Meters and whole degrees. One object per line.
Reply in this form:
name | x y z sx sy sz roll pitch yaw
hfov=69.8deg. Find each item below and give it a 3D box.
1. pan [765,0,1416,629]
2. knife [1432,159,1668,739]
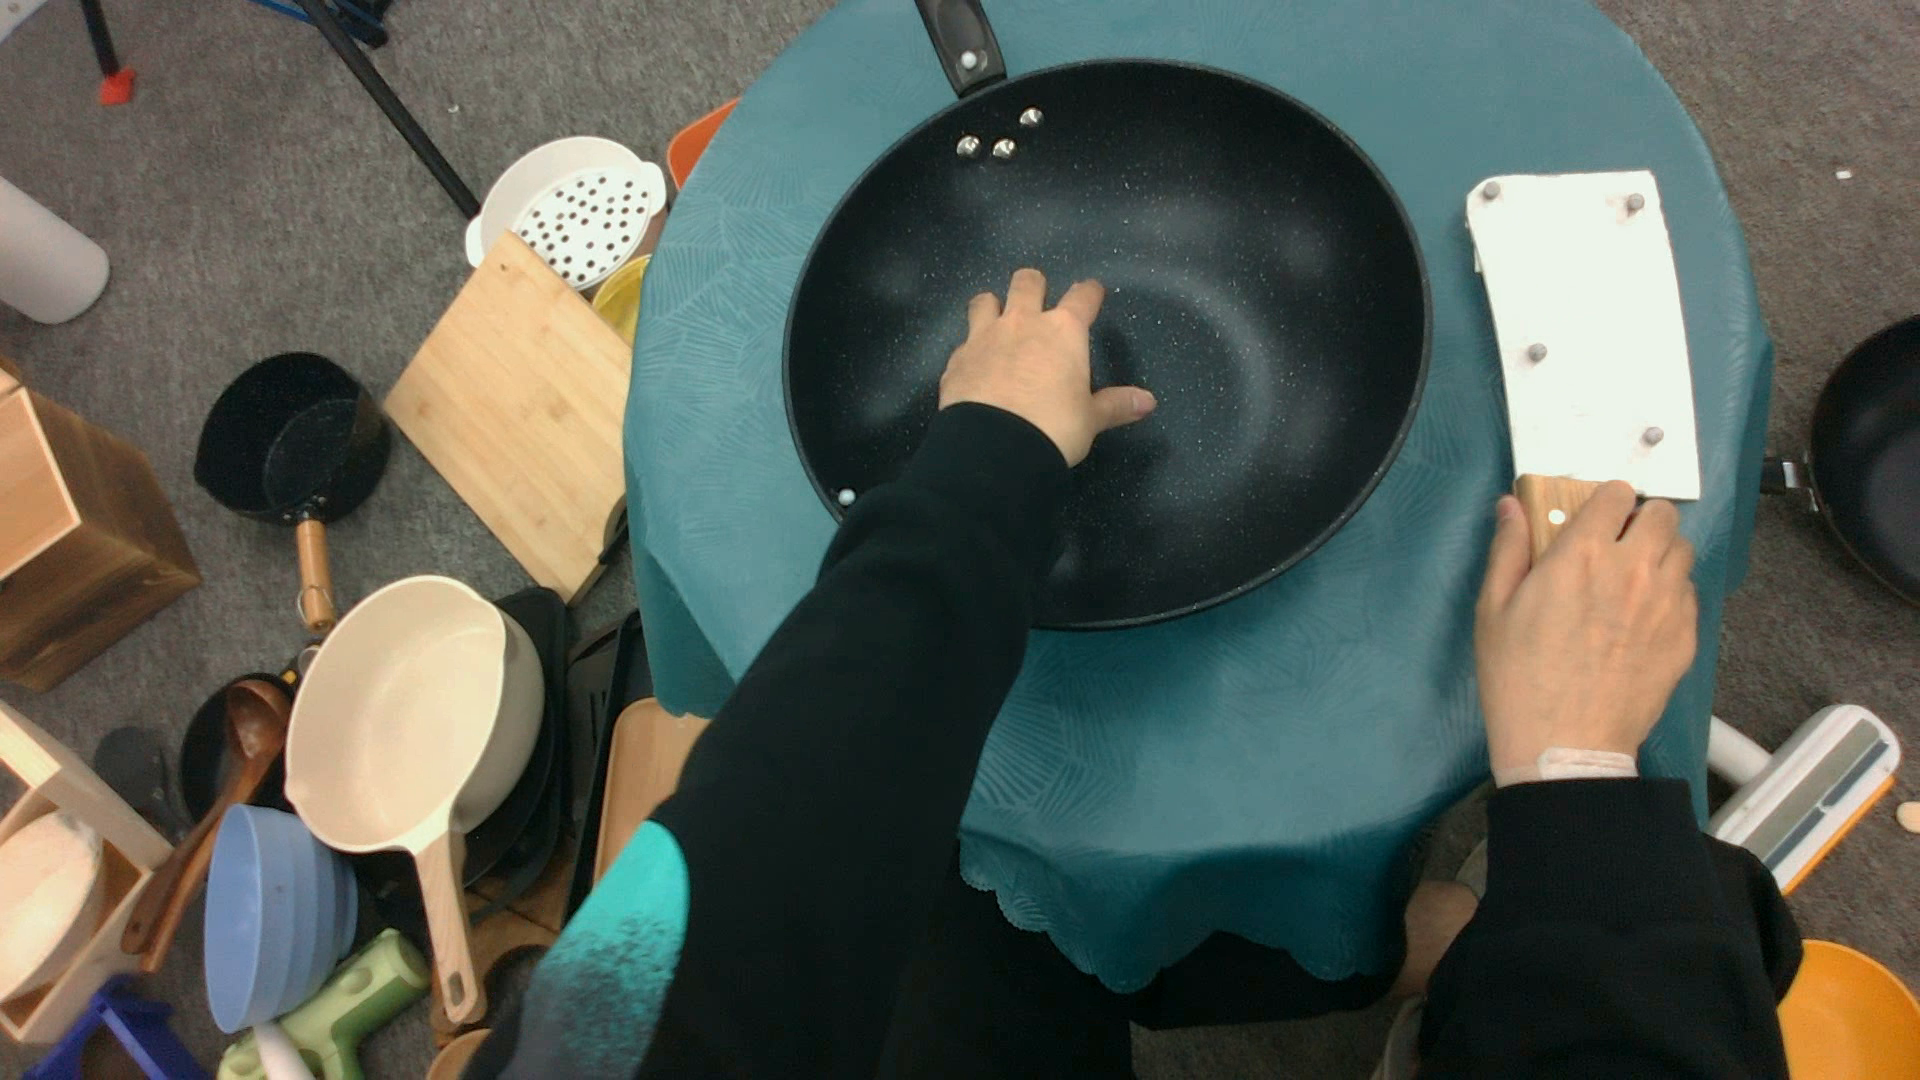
pan | 0.033 -0.168 0.715 0.310 0.111 0.478 -21 67 0
knife | 0.287 -0.058 0.669 0.114 0.021 0.316 7 69 -2
